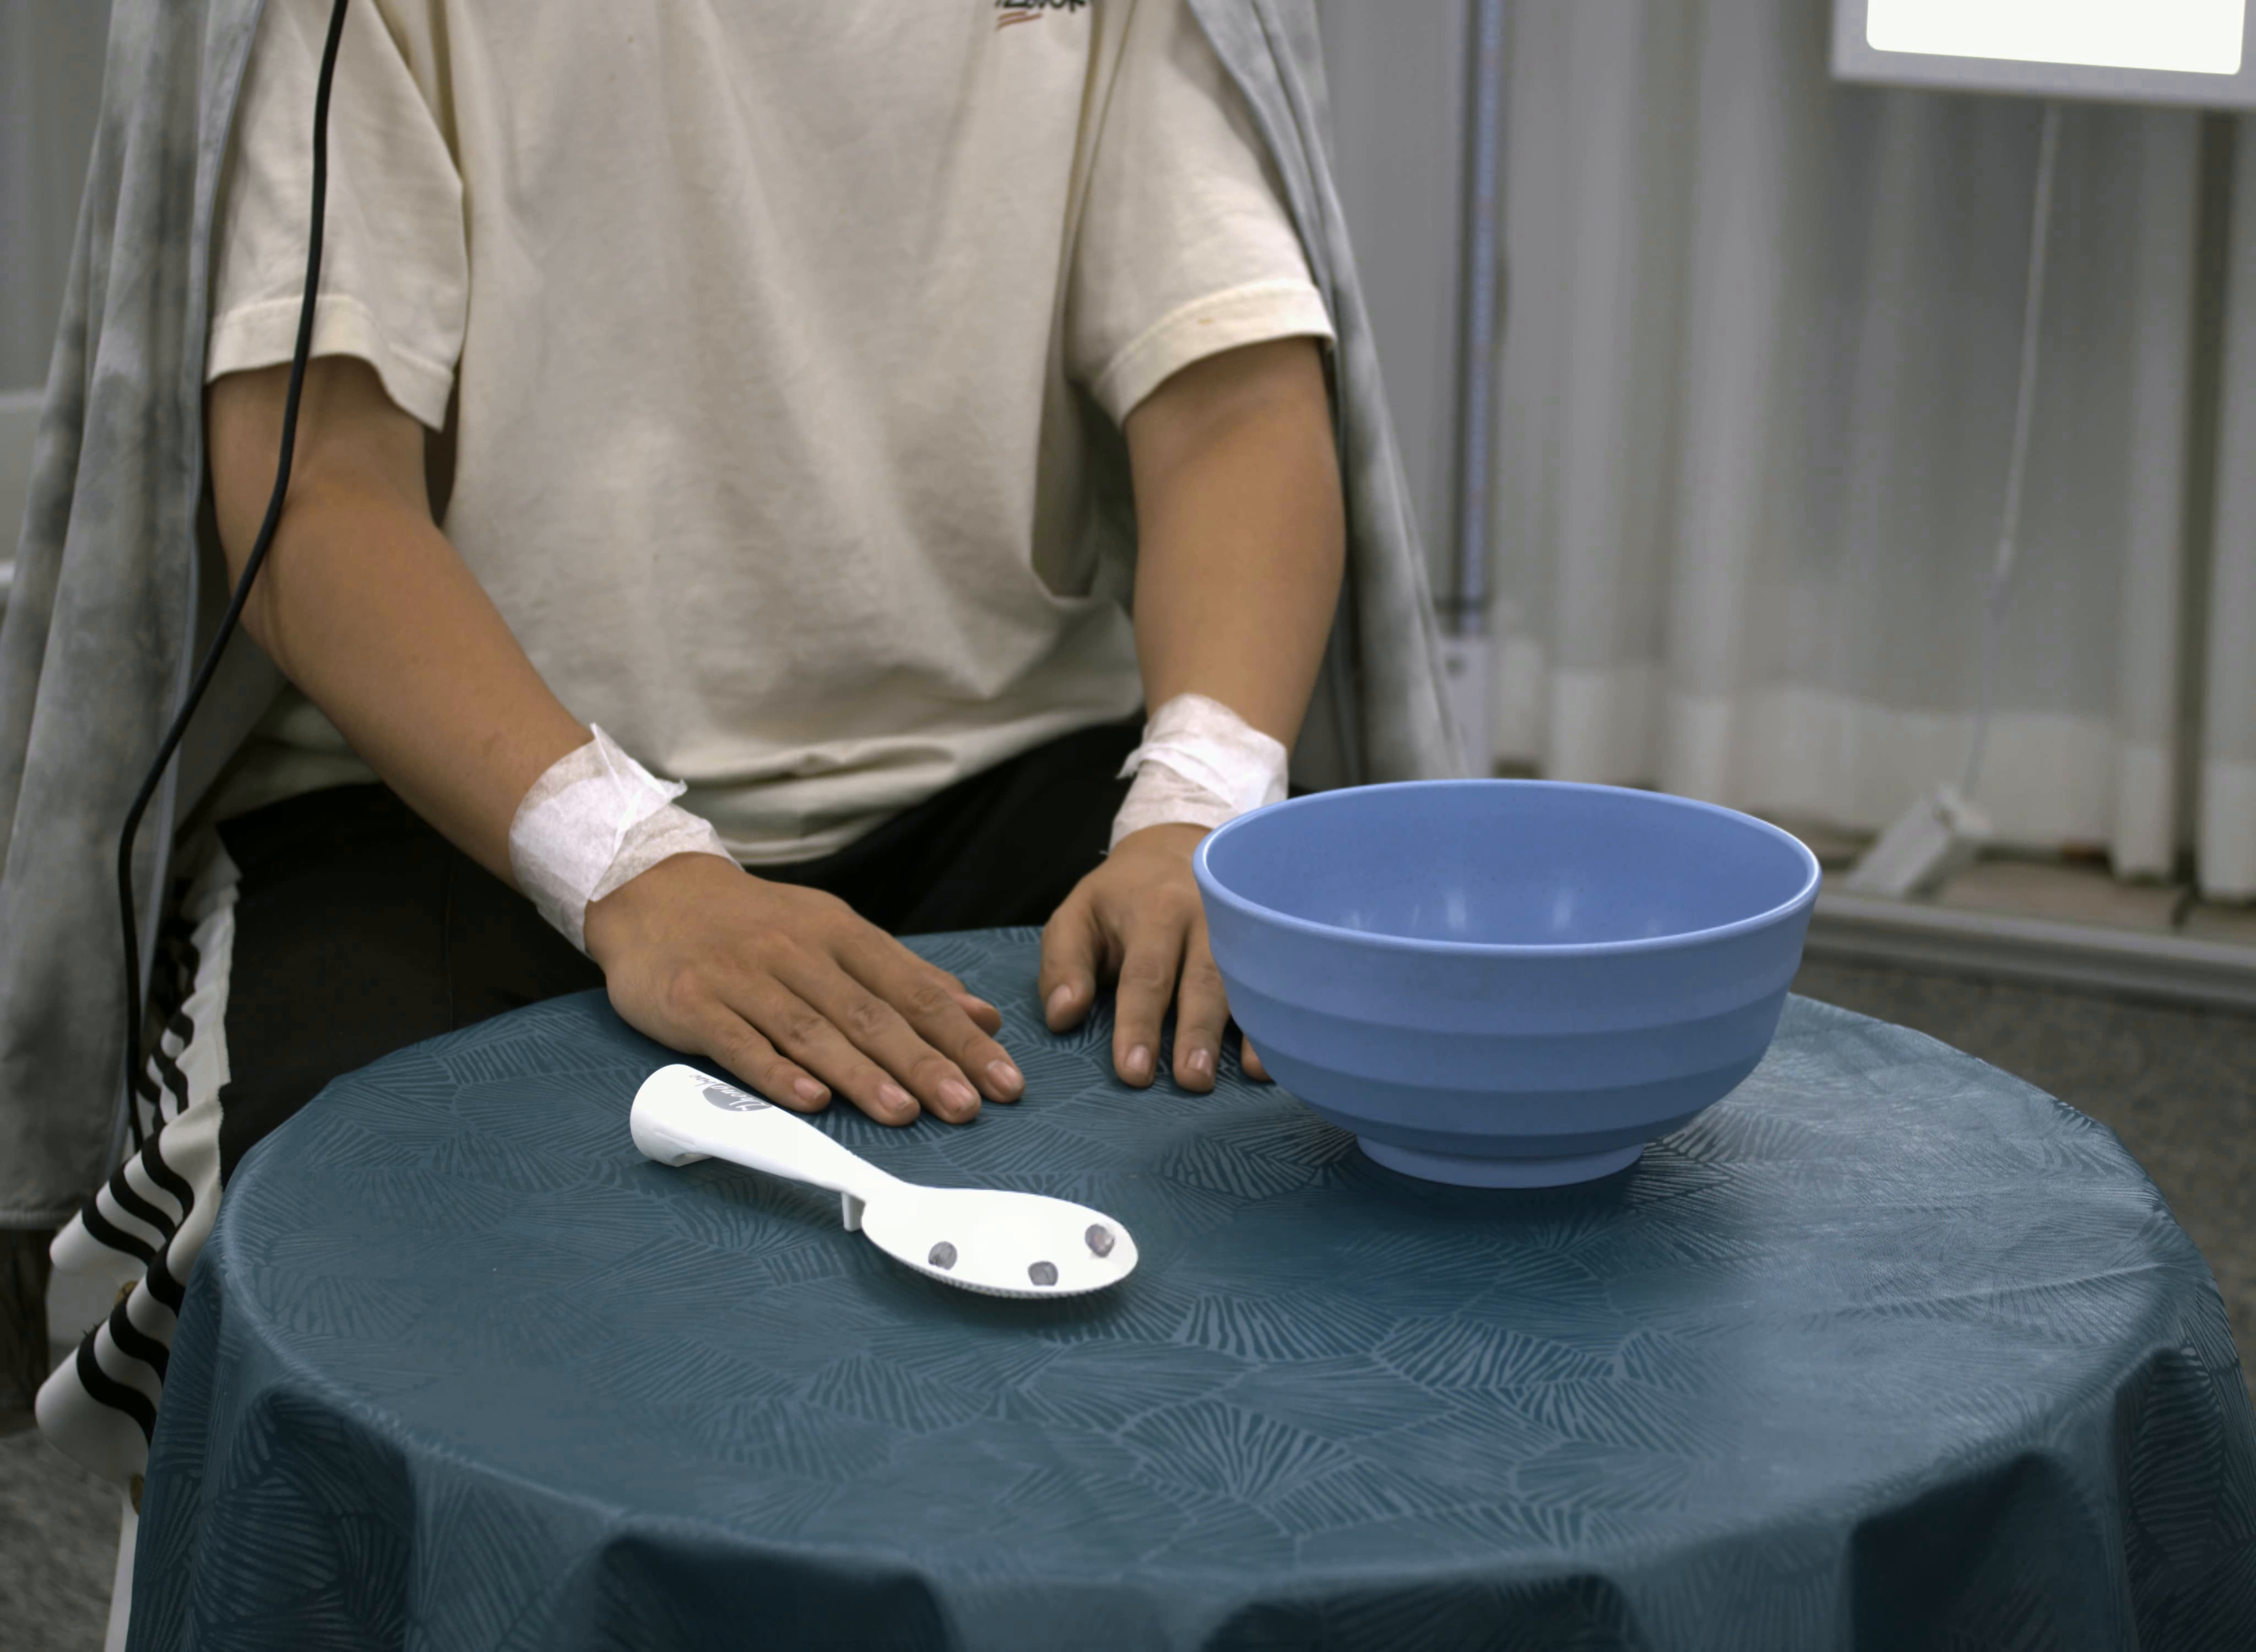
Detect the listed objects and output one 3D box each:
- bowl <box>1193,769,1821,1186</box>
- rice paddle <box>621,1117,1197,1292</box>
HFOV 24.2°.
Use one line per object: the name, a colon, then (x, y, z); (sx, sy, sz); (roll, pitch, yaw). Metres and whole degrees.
bowl: (0.118, 0.053, 1.661); (0.196, 0.096, 0.195); (0, 18, 0)
rice paddle: (-0.066, 0.115, 1.575); (0.203, 0.029, 0.069); (8, 4, 36)
